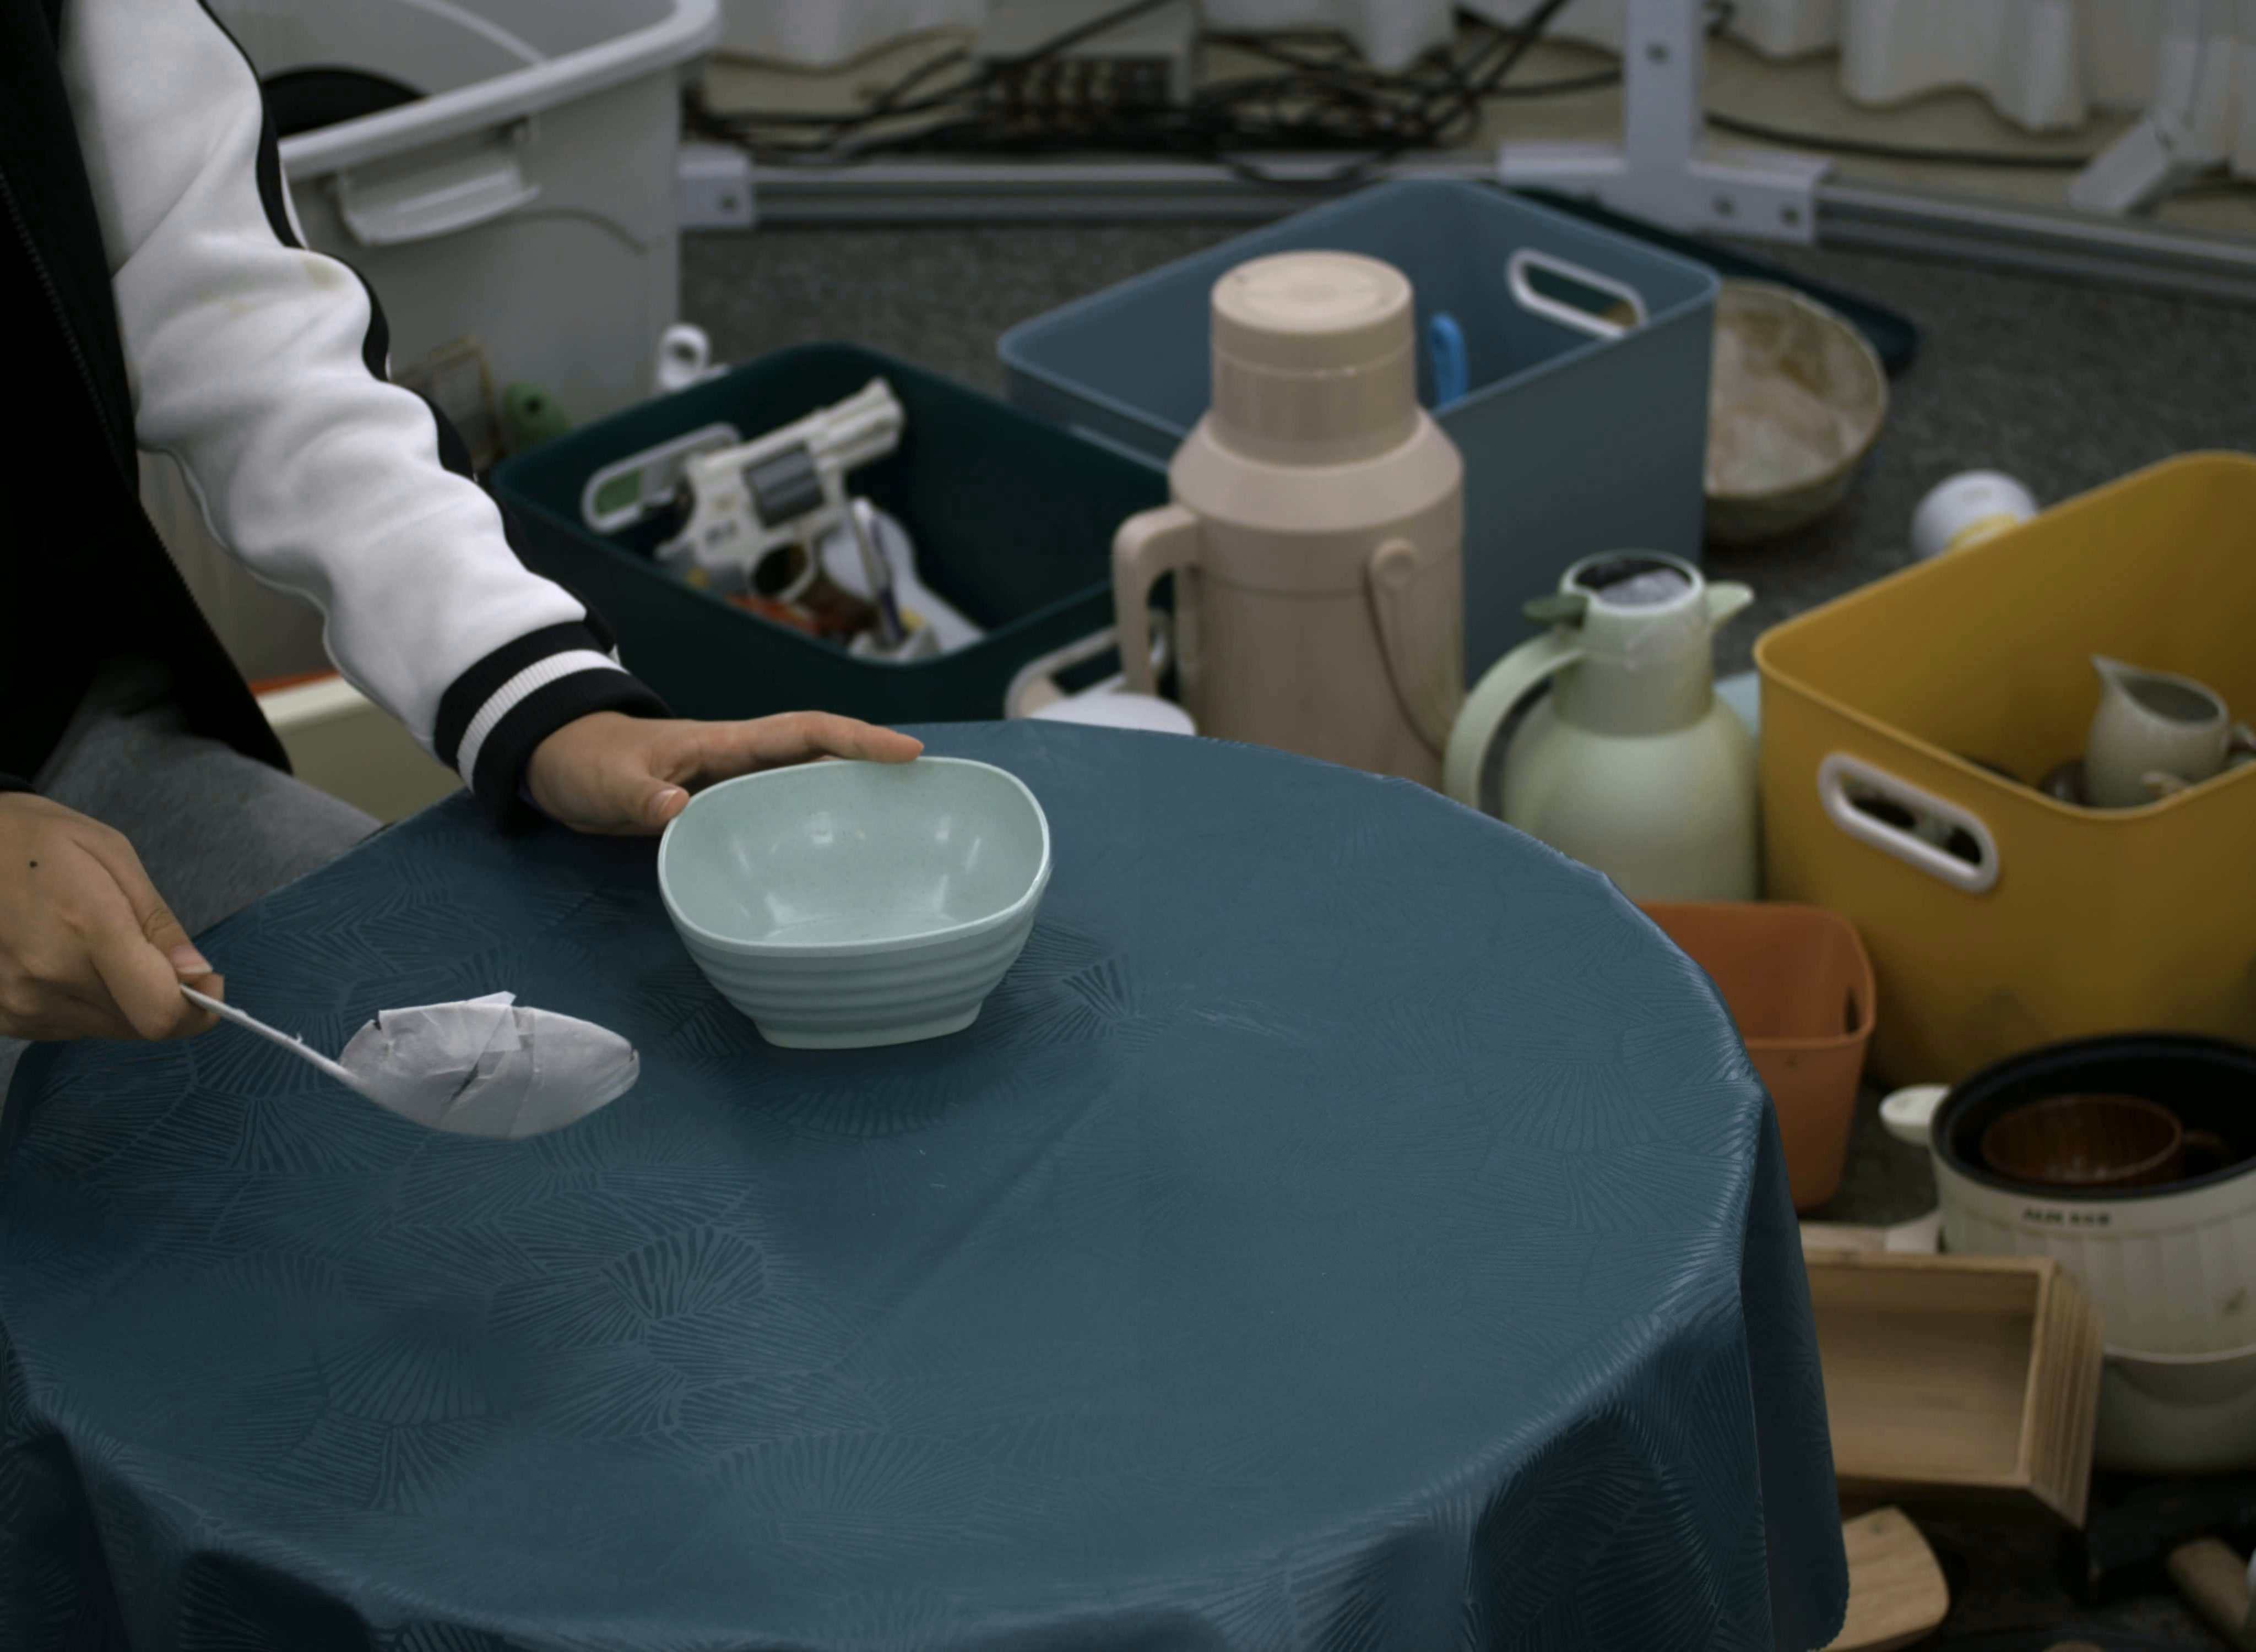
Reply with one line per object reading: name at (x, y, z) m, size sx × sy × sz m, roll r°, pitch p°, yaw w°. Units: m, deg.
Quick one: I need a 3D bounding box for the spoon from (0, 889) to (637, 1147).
spoon at (-0.271, 0.048, 1.849) m, size 0.277 × 0.100 × 0.060 m, roll 23°, pitch 73°, yaw 41°

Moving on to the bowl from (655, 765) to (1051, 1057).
bowl at (-0.095, 0.036, 1.981) m, size 0.151 × 0.058 × 0.154 m, roll -2°, pitch 27°, yaw 2°
